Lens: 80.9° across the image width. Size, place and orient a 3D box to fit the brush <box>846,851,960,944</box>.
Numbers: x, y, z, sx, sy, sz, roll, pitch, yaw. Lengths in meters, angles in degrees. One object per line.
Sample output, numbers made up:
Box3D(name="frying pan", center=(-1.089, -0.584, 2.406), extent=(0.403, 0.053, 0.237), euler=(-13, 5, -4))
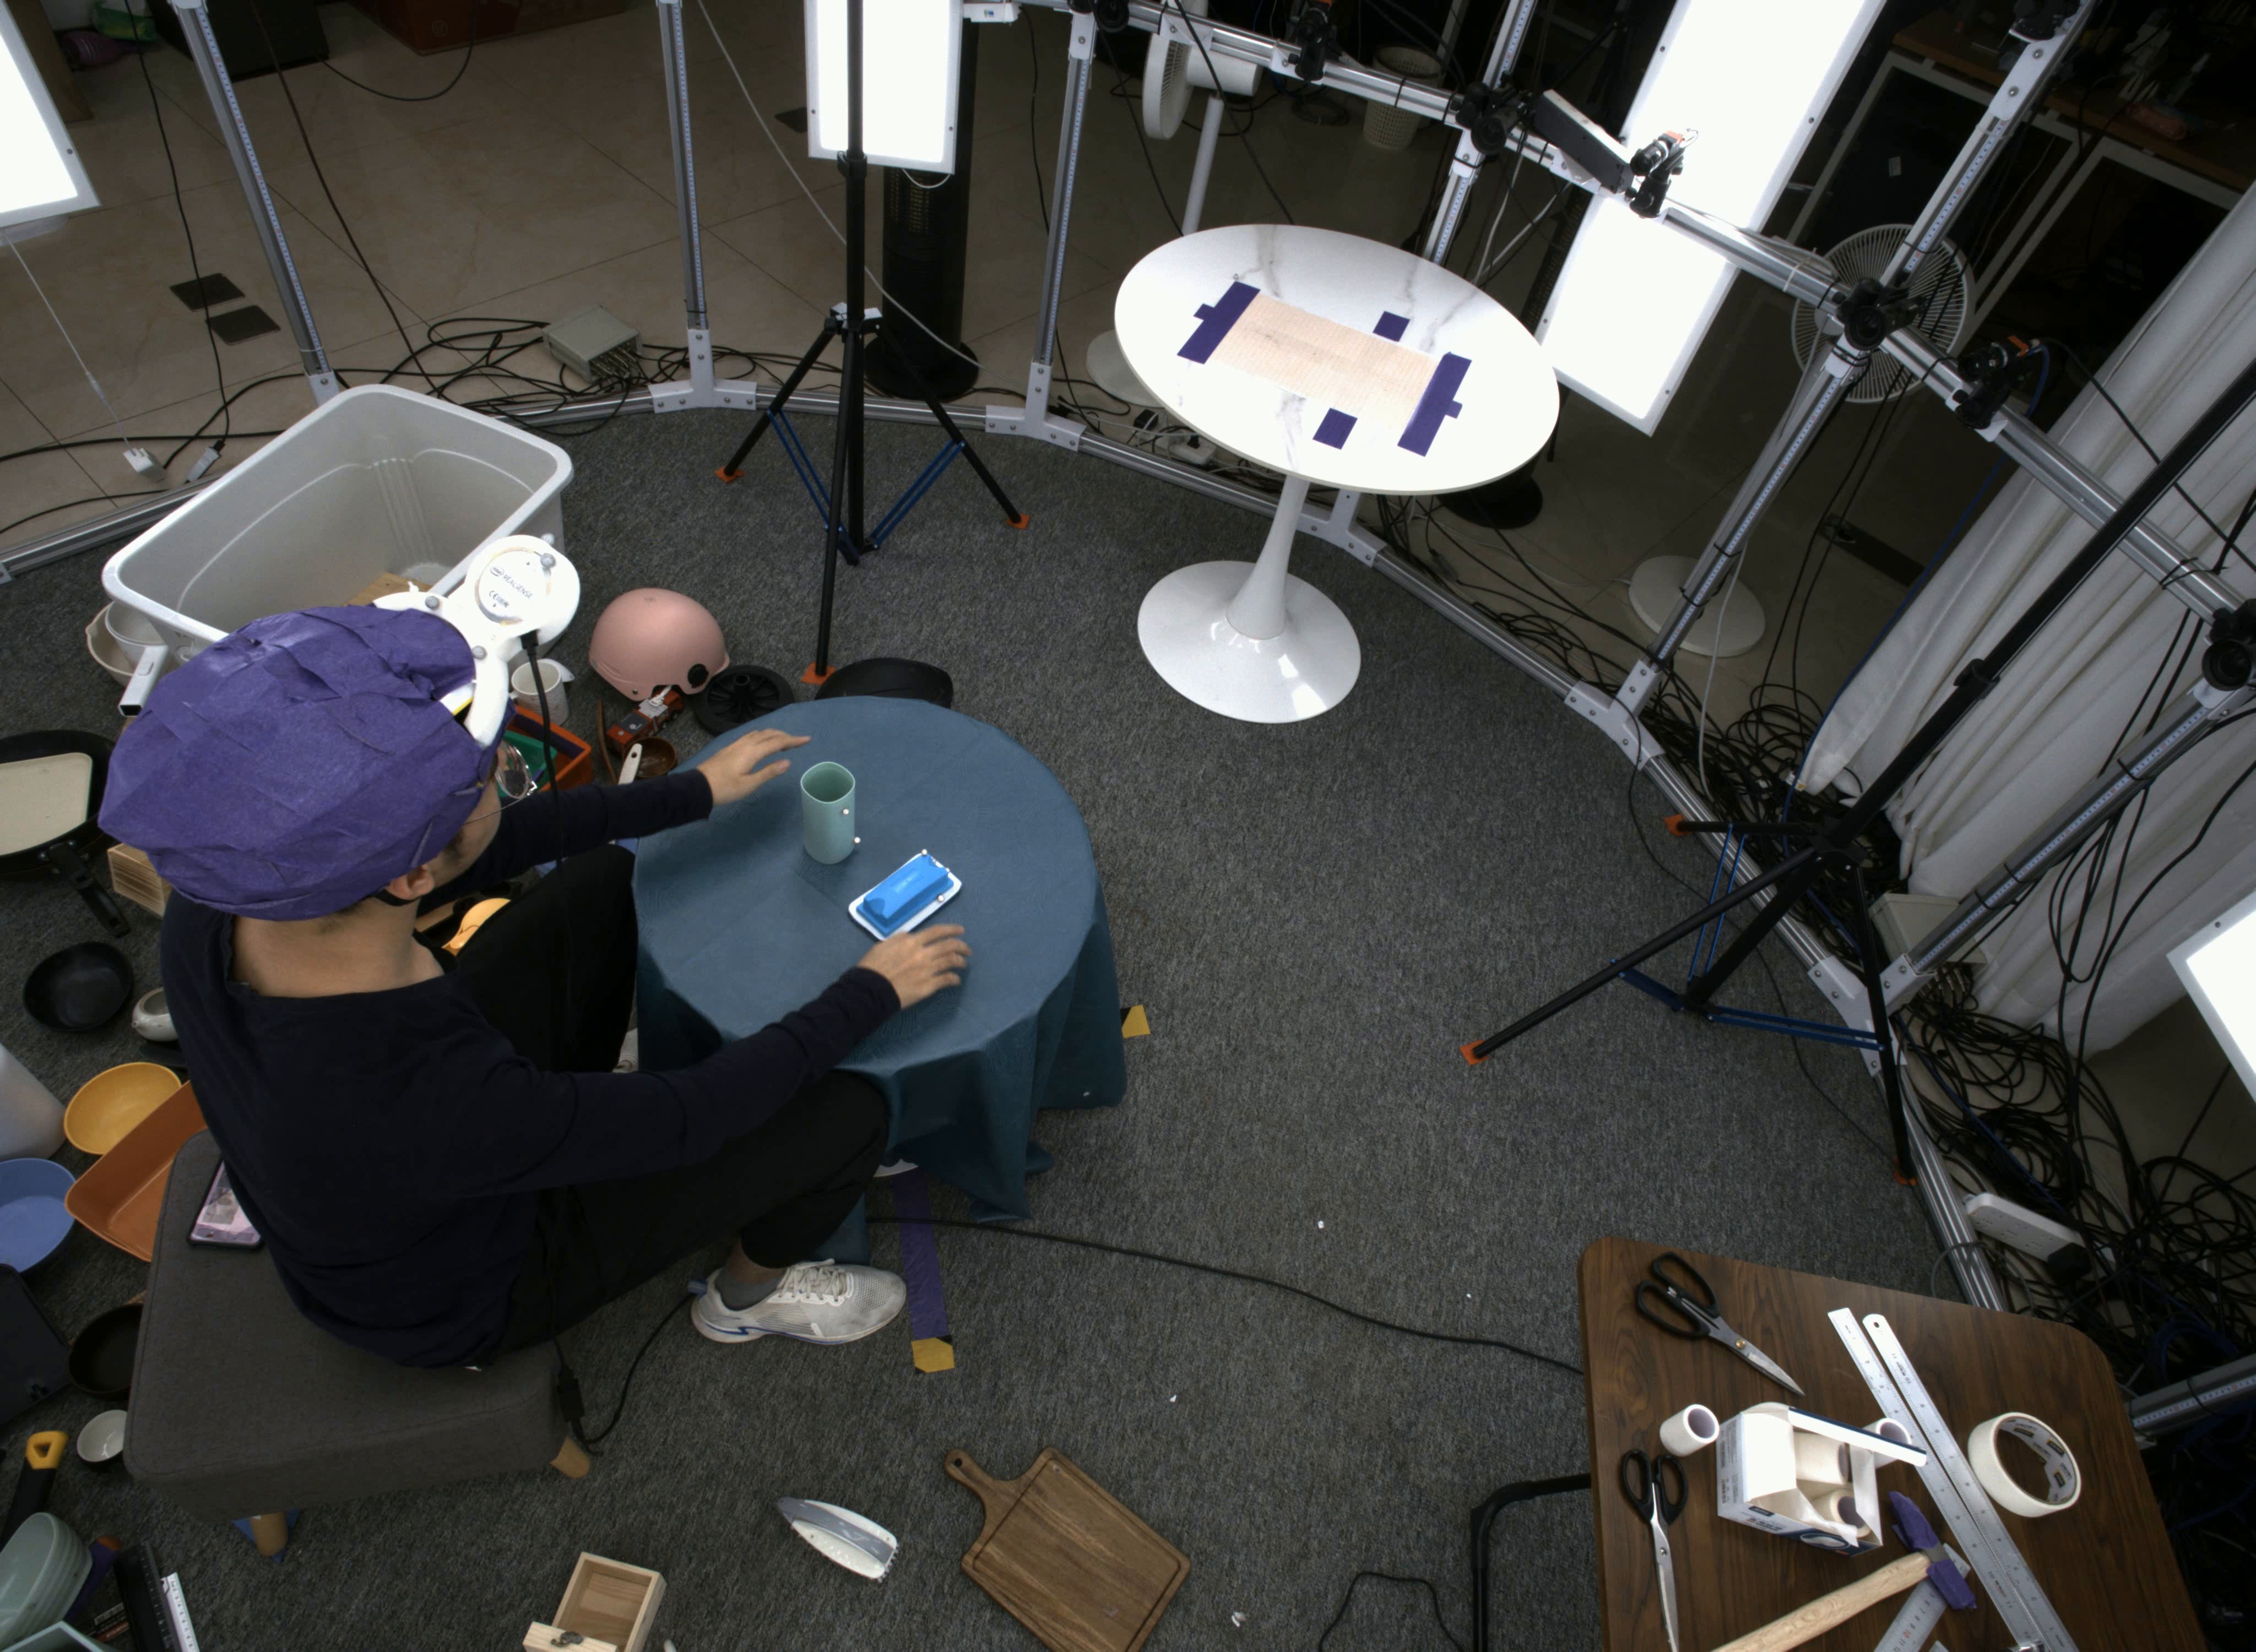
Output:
Box3D(name="brush", center=(-0.286, 0.082, 1.659), extent=(0.082, 0.057, 0.144), euler=(39, 52, 20))

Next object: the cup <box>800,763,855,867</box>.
Box3D(name="cup", center=(-0.386, -0.013, 1.667), extent=(0.066, 0.135, 0.065), euler=(6, 53, -6))
